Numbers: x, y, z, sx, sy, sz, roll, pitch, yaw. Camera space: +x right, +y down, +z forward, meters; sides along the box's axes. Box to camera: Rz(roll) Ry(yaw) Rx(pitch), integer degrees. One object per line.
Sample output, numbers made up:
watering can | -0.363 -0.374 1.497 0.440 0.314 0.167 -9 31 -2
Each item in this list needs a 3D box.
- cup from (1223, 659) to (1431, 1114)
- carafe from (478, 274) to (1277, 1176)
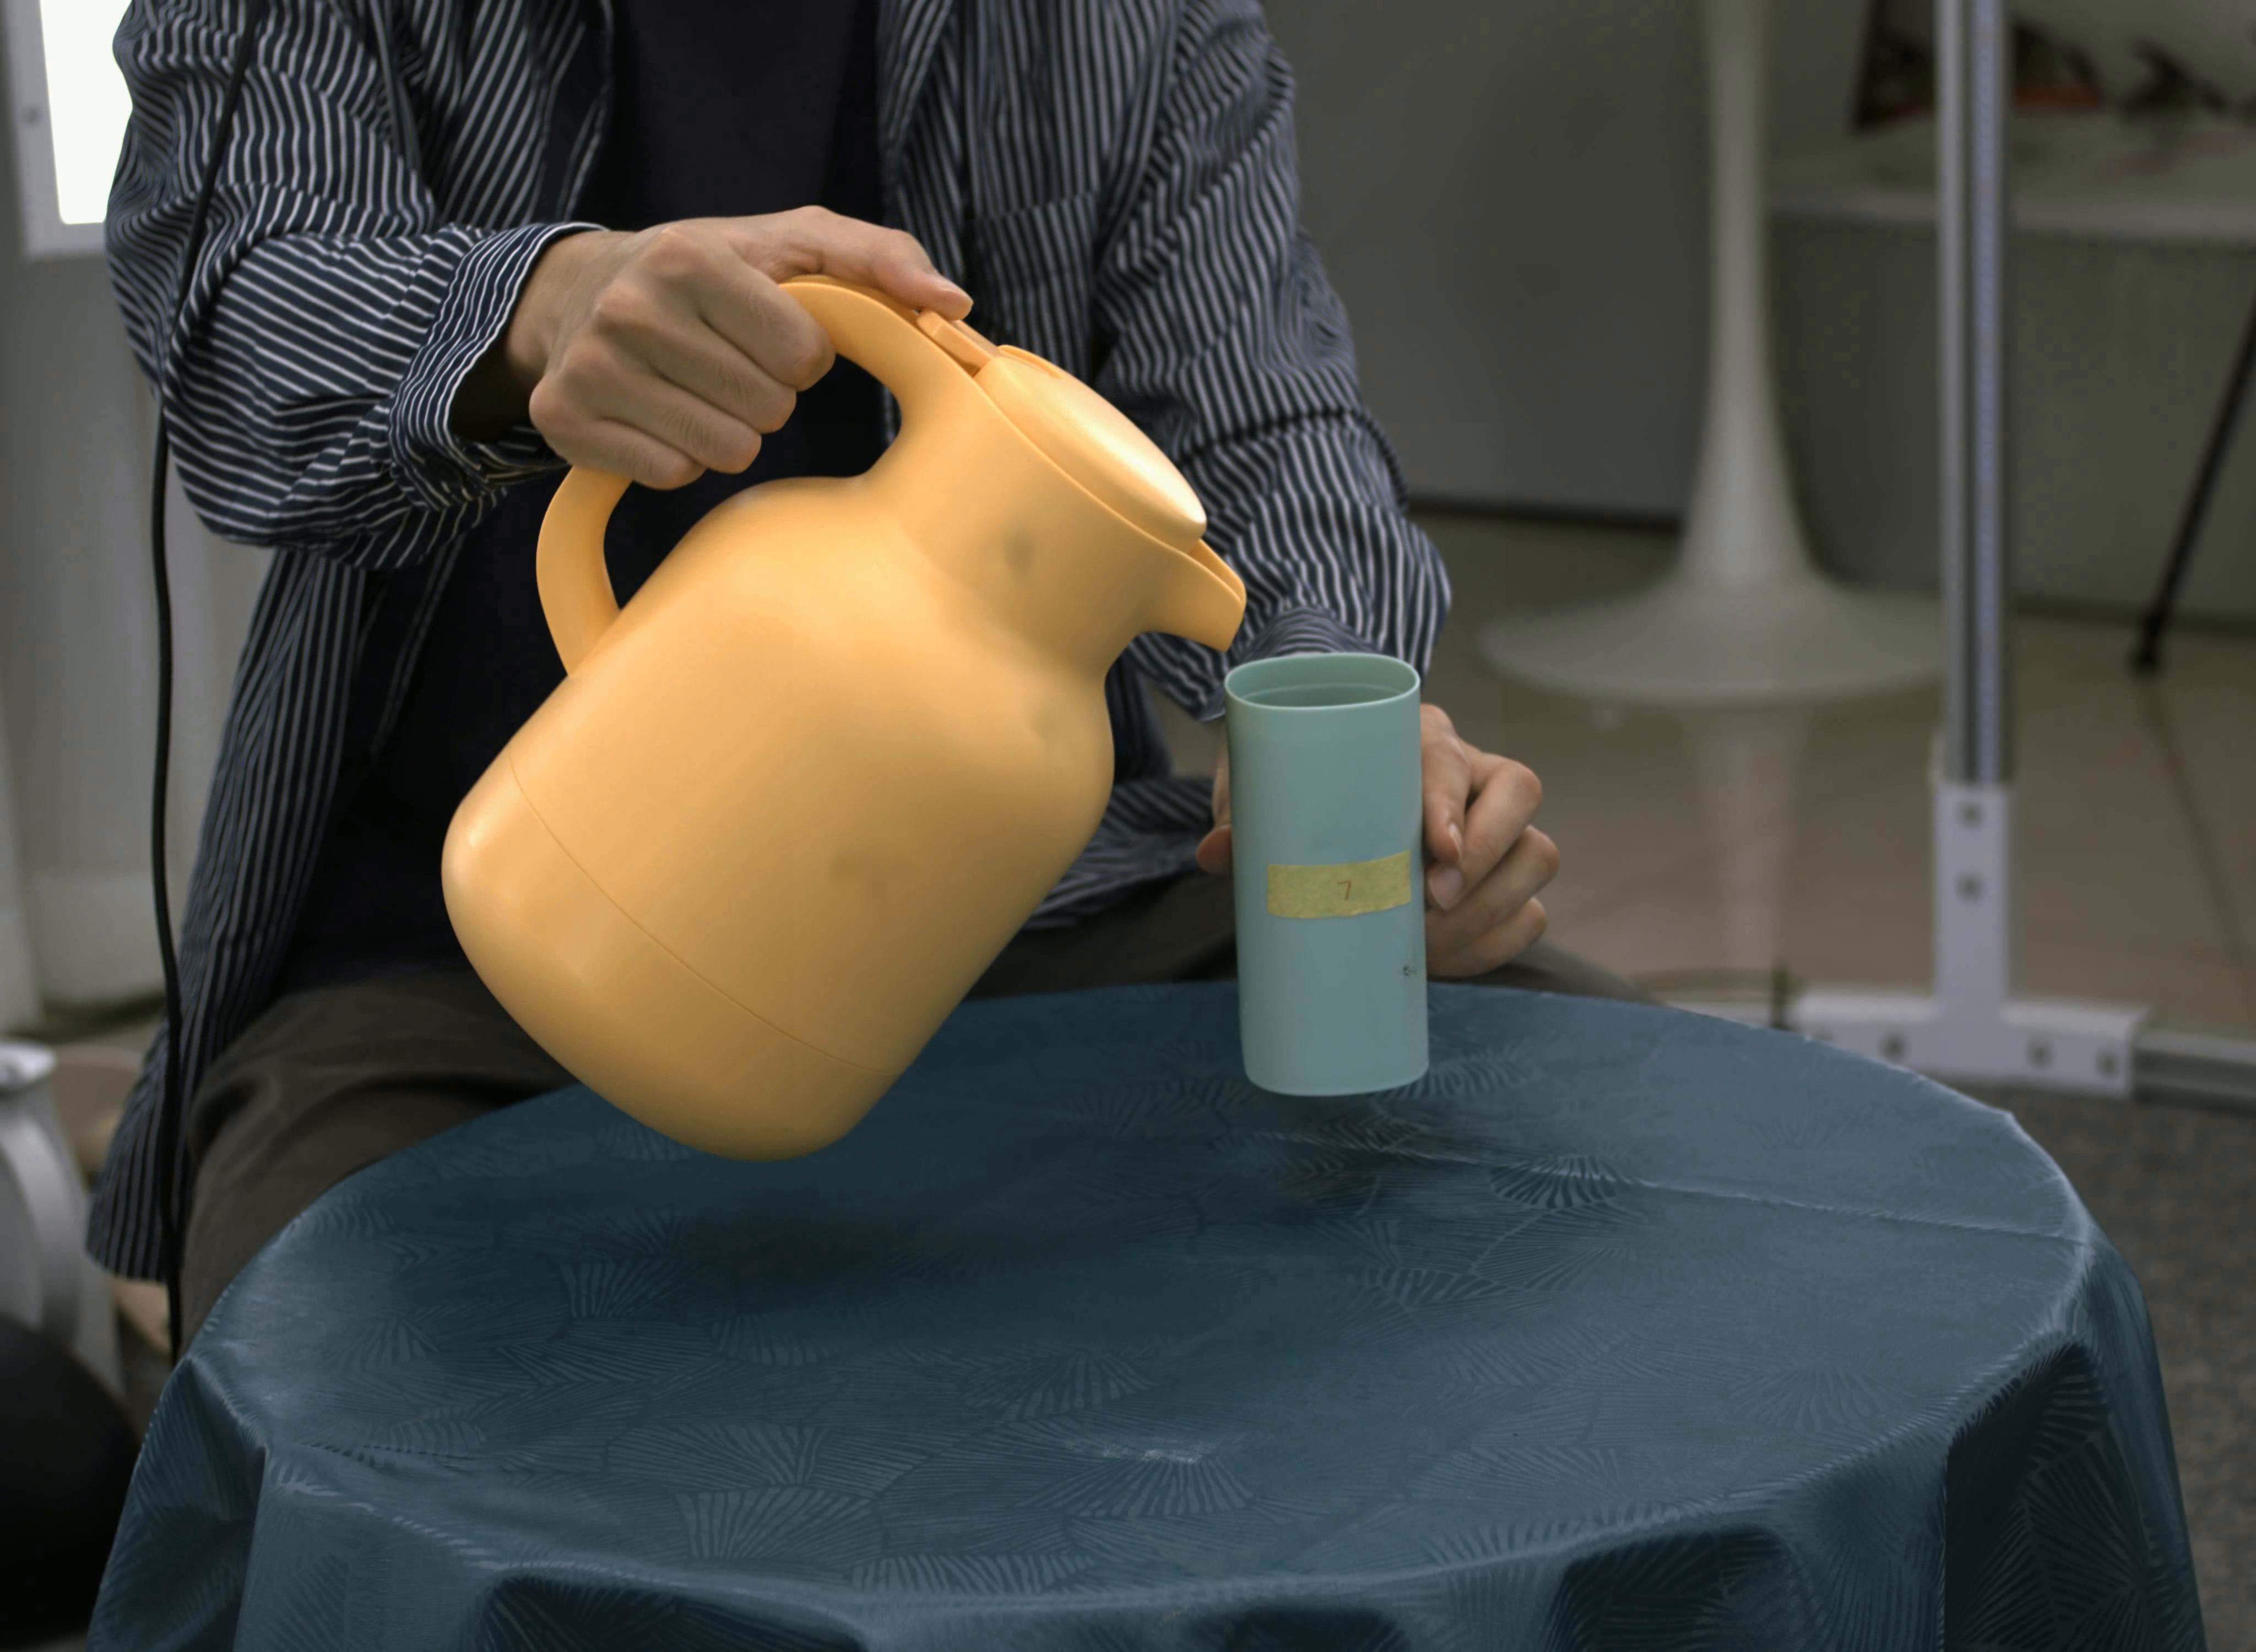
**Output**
cup | 0.064 0.018 1.721 0.066 0.134 0.067 -4 16 0
carafe | -0.090 -0.040 1.697 0.201 0.262 0.163 40 11 -5
